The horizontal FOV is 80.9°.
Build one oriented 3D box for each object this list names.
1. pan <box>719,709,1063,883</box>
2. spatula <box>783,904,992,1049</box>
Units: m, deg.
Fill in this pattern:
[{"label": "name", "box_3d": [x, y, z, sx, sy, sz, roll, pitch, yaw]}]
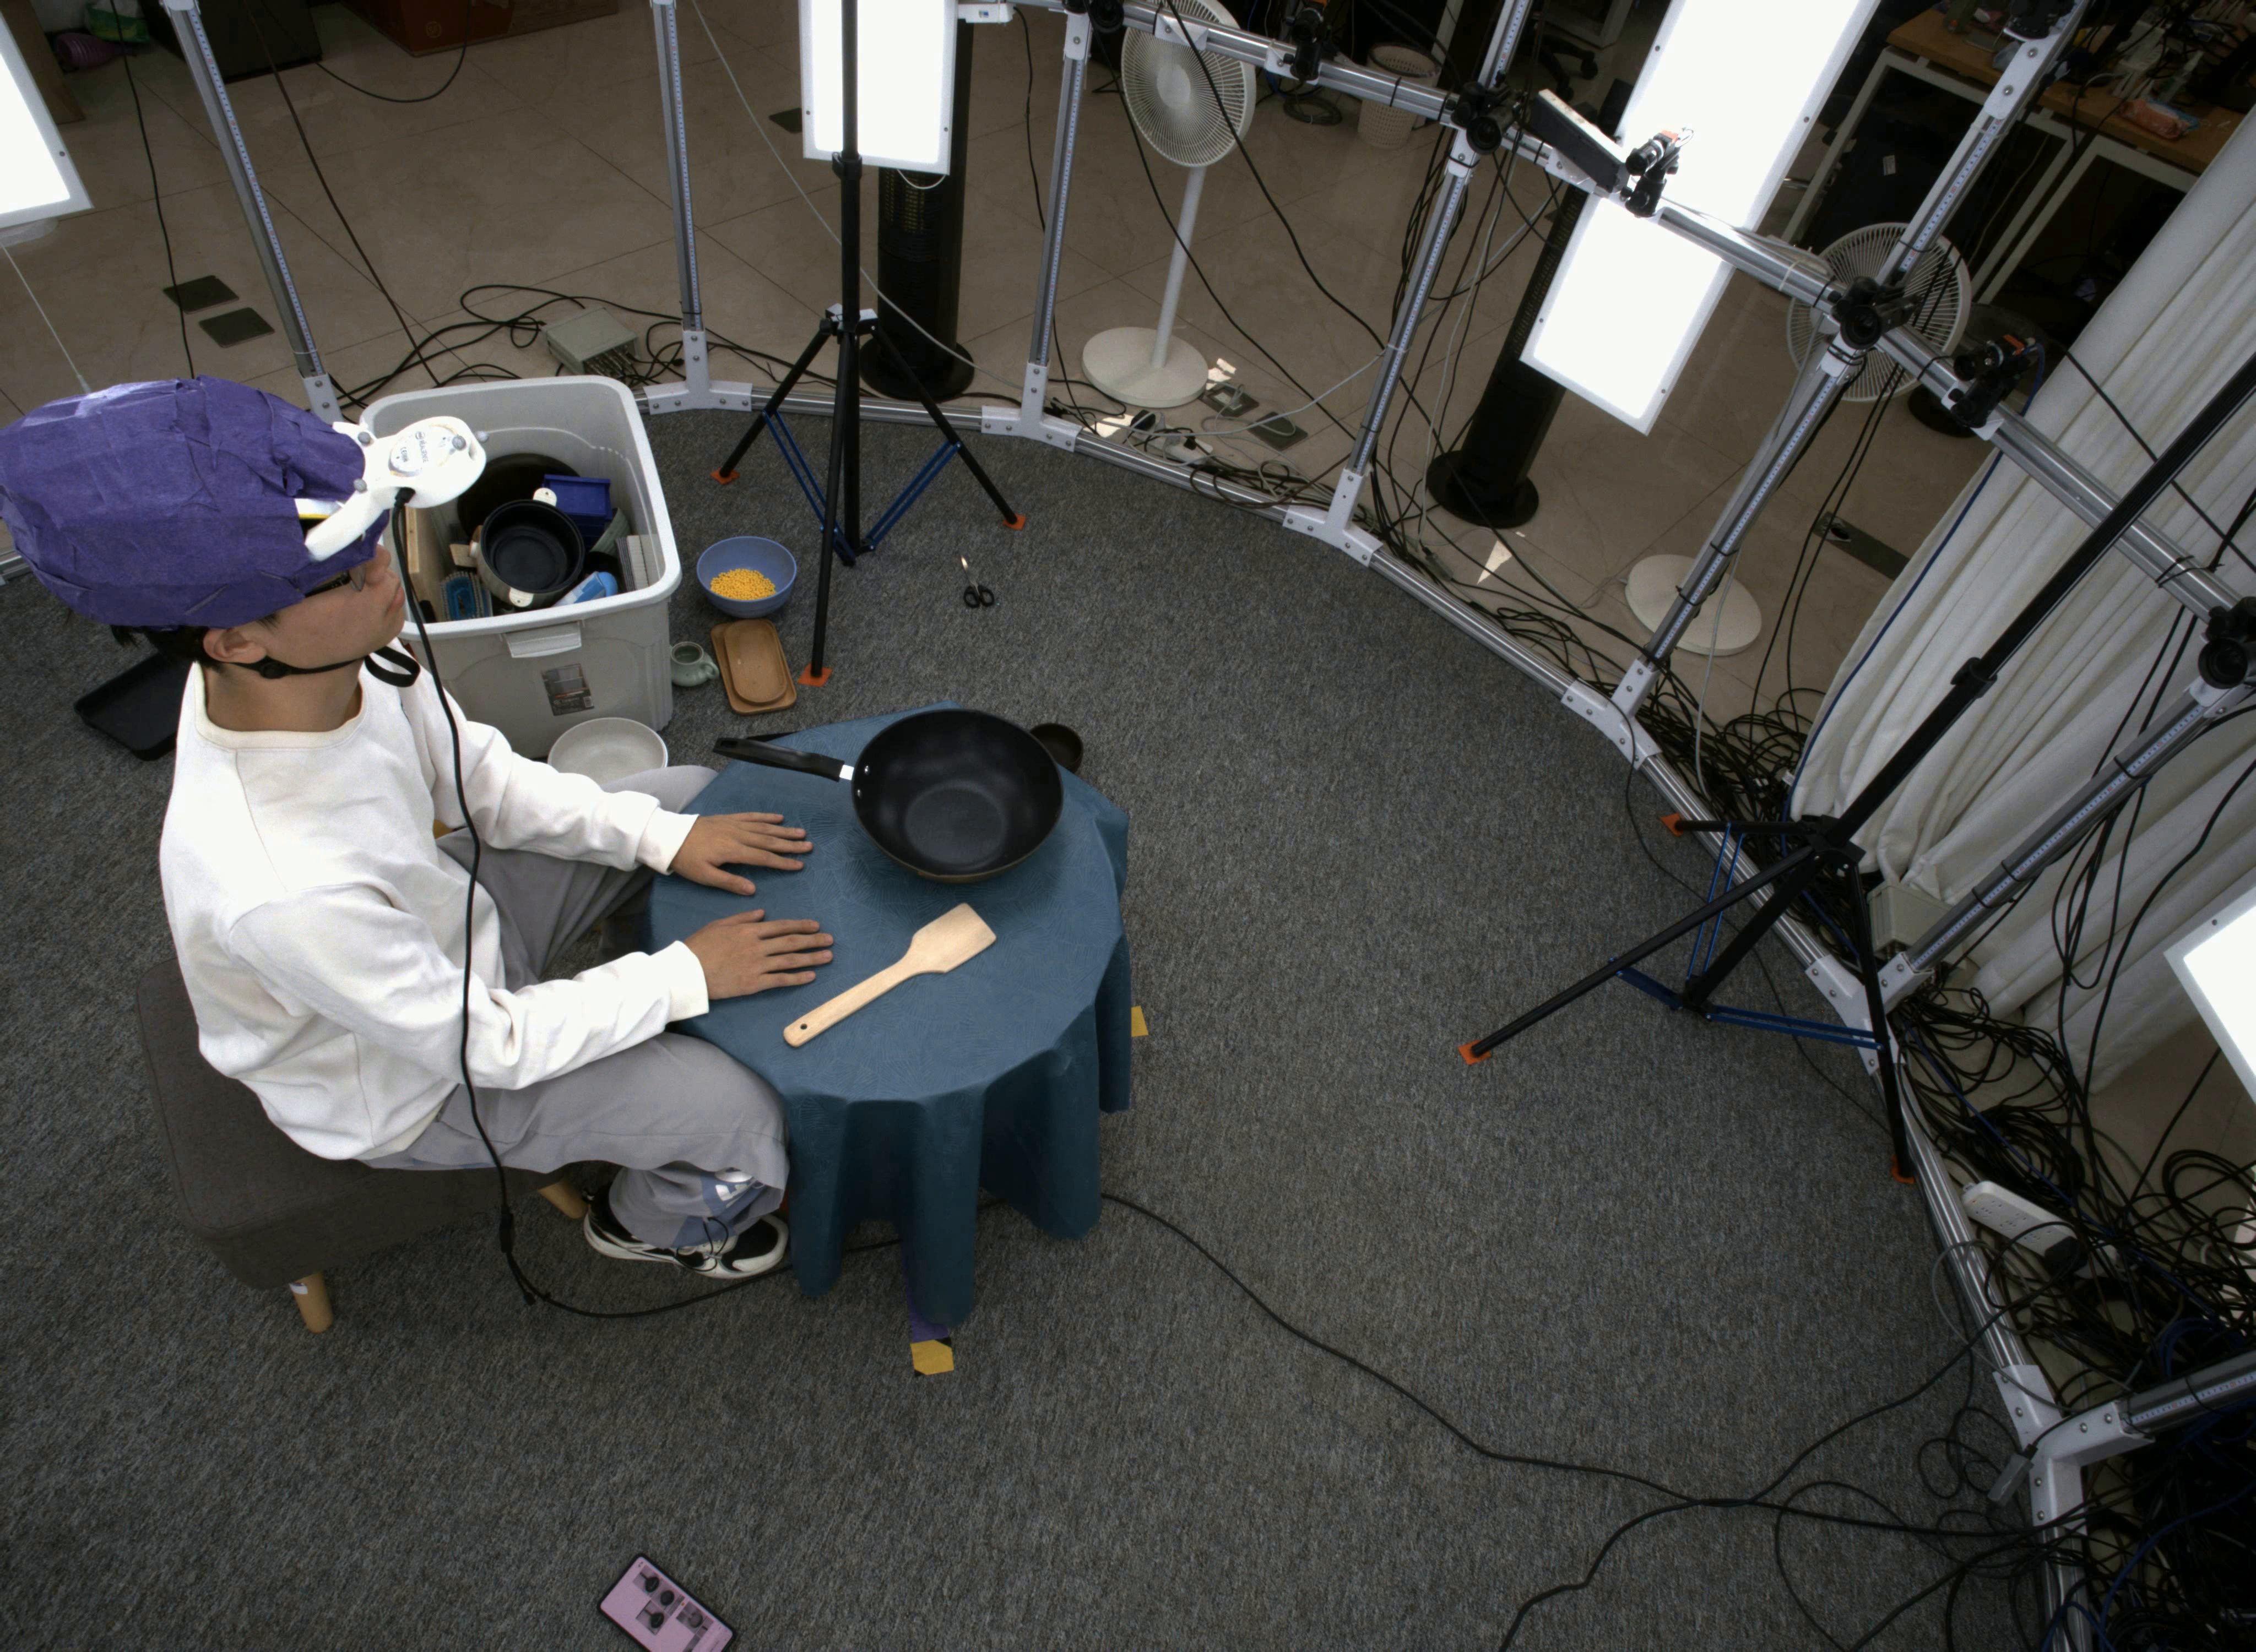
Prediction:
[{"label": "pan", "box_3d": [-0.318, -0.044, 1.740, 0.460, 0.089, 0.283, 11, 52, -4]}, {"label": "spatula", "box_3d": [-0.300, 0.190, 1.618, 0.294, 0.011, 0.070, -32, 68, -31]}]
